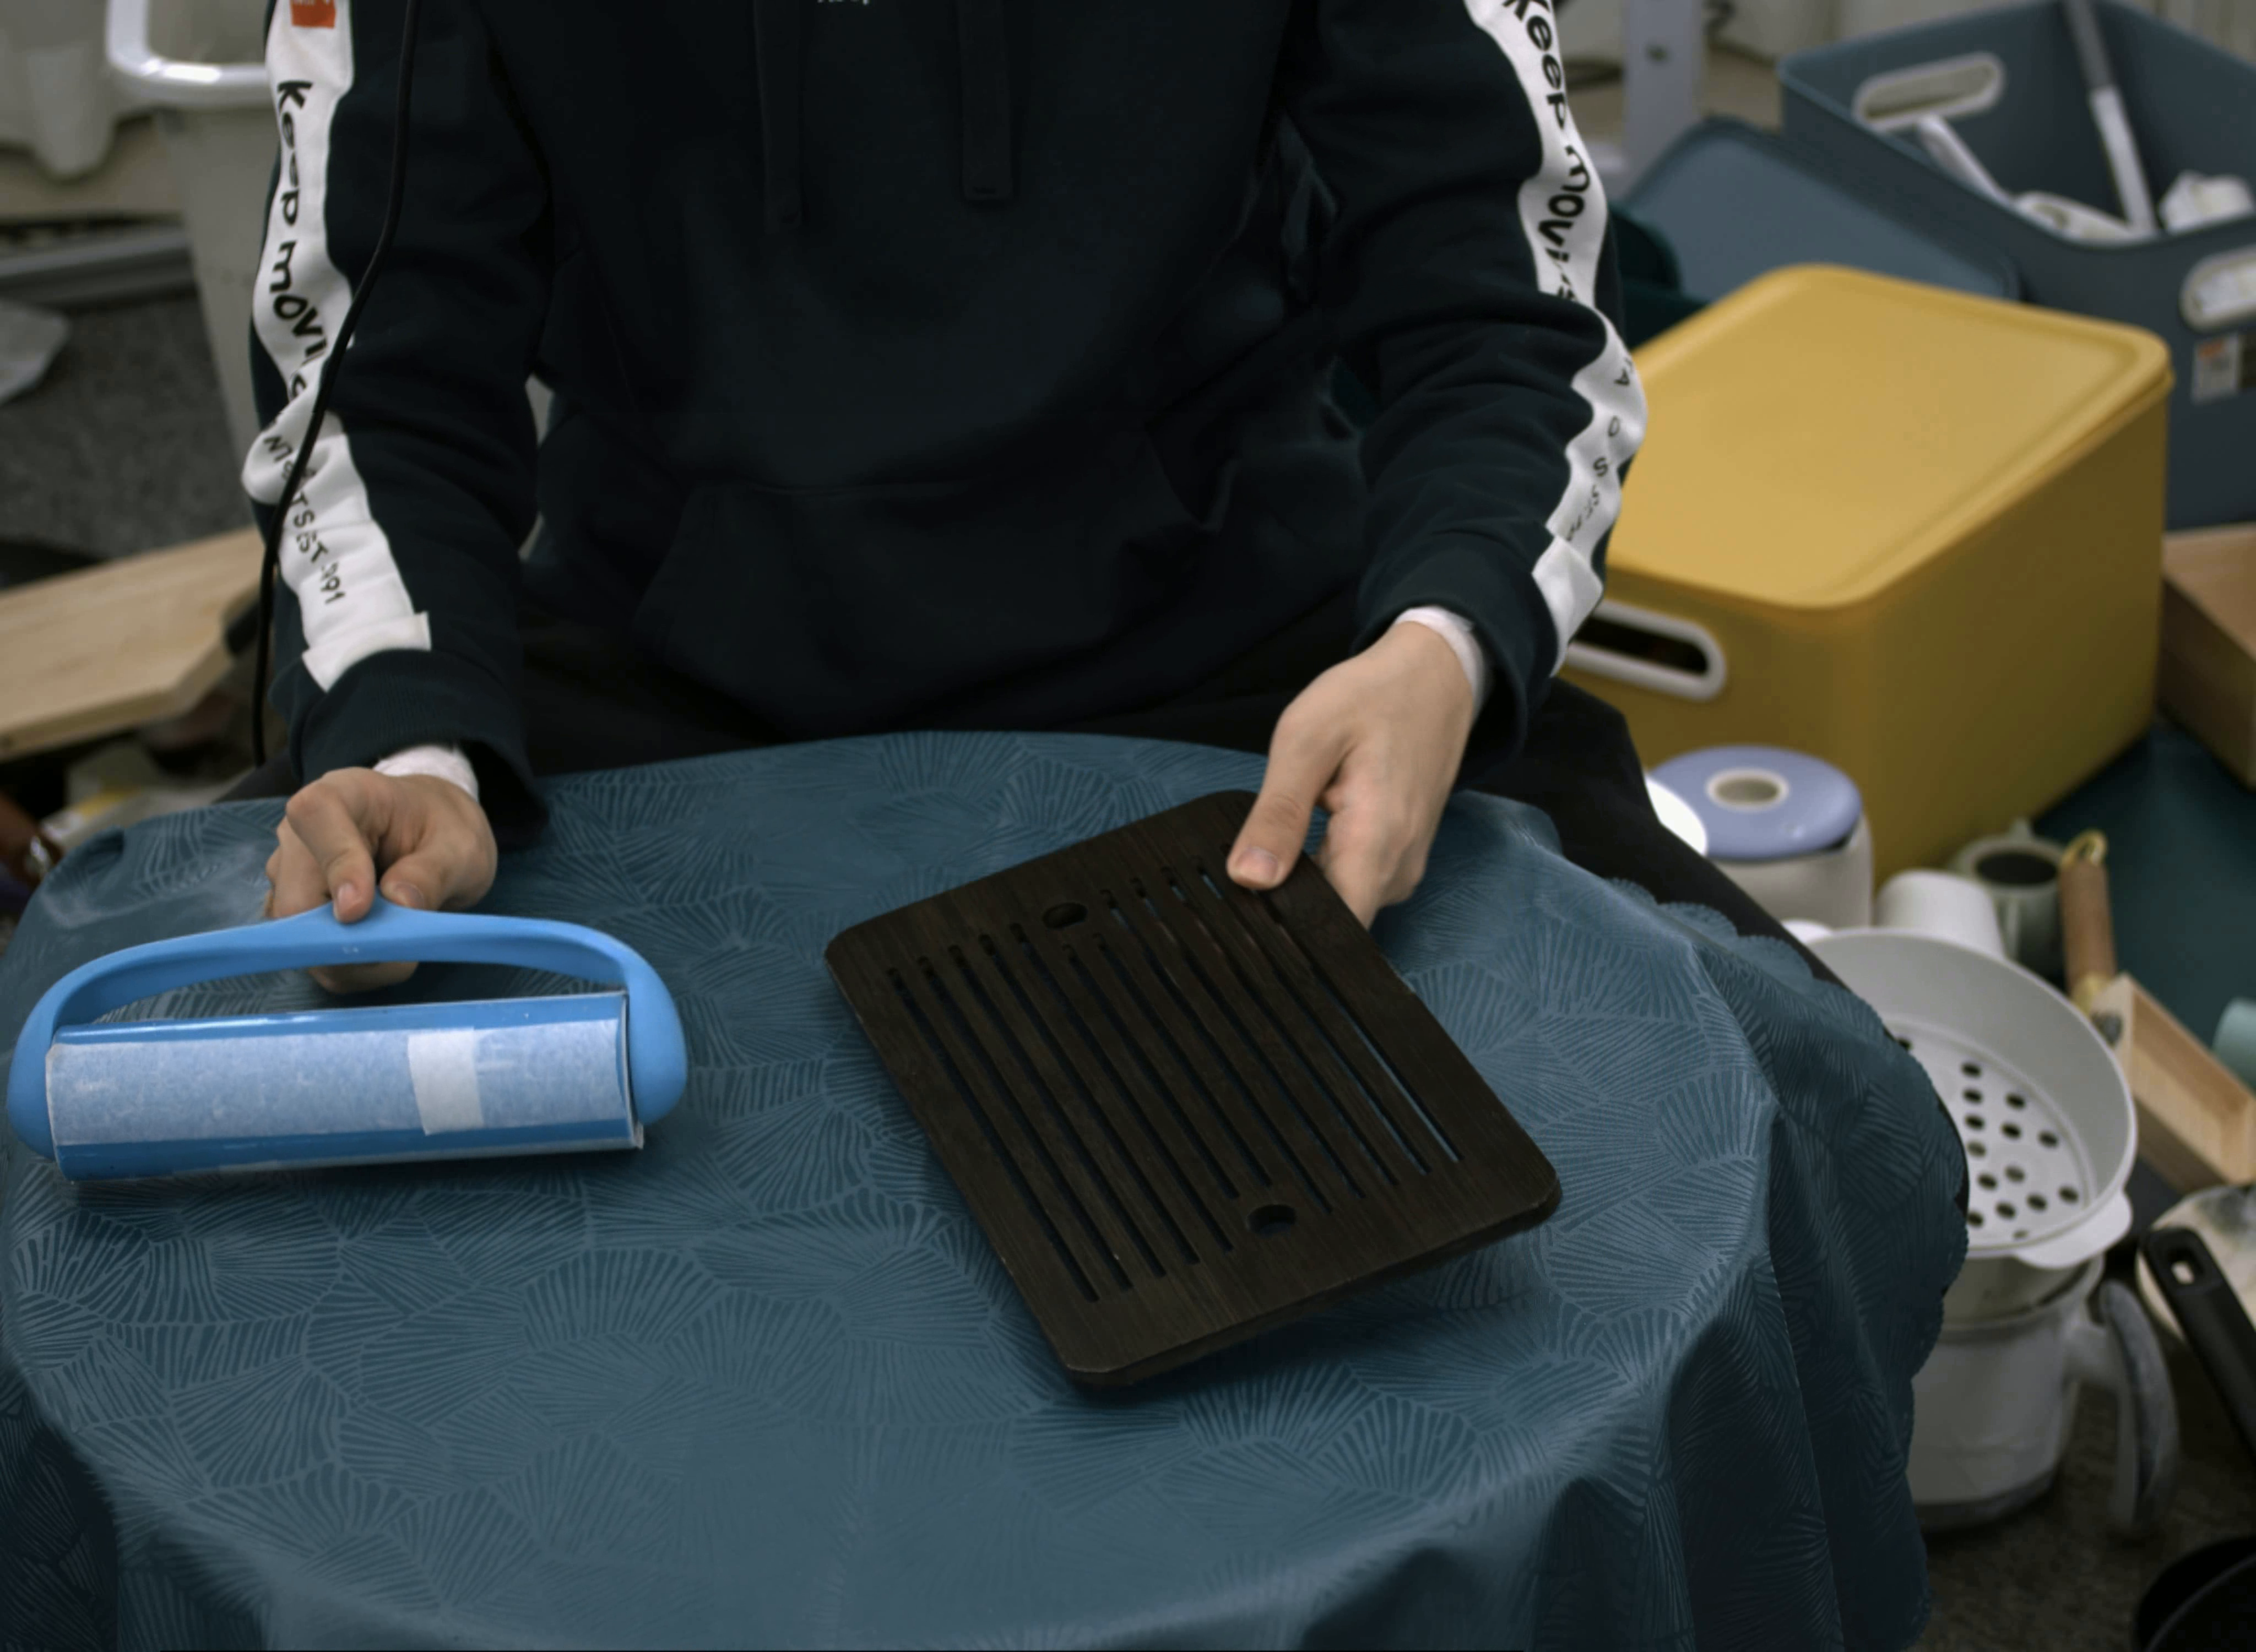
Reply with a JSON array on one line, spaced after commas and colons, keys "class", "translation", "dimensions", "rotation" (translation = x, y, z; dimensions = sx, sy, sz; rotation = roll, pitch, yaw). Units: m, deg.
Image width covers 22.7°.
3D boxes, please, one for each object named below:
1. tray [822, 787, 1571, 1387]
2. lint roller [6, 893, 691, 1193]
[{"class": "tray", "translation": [0.016, 0.083, 1.882], "dimensions": [0.170, 0.018, 0.308], "rotation": [-21, 31, -11]}, {"class": "lint roller", "translation": [-0.266, 0.059, 1.937], "dimensions": [0.228, 0.067, 0.183], "rotation": [-6, 30, -3]}]
